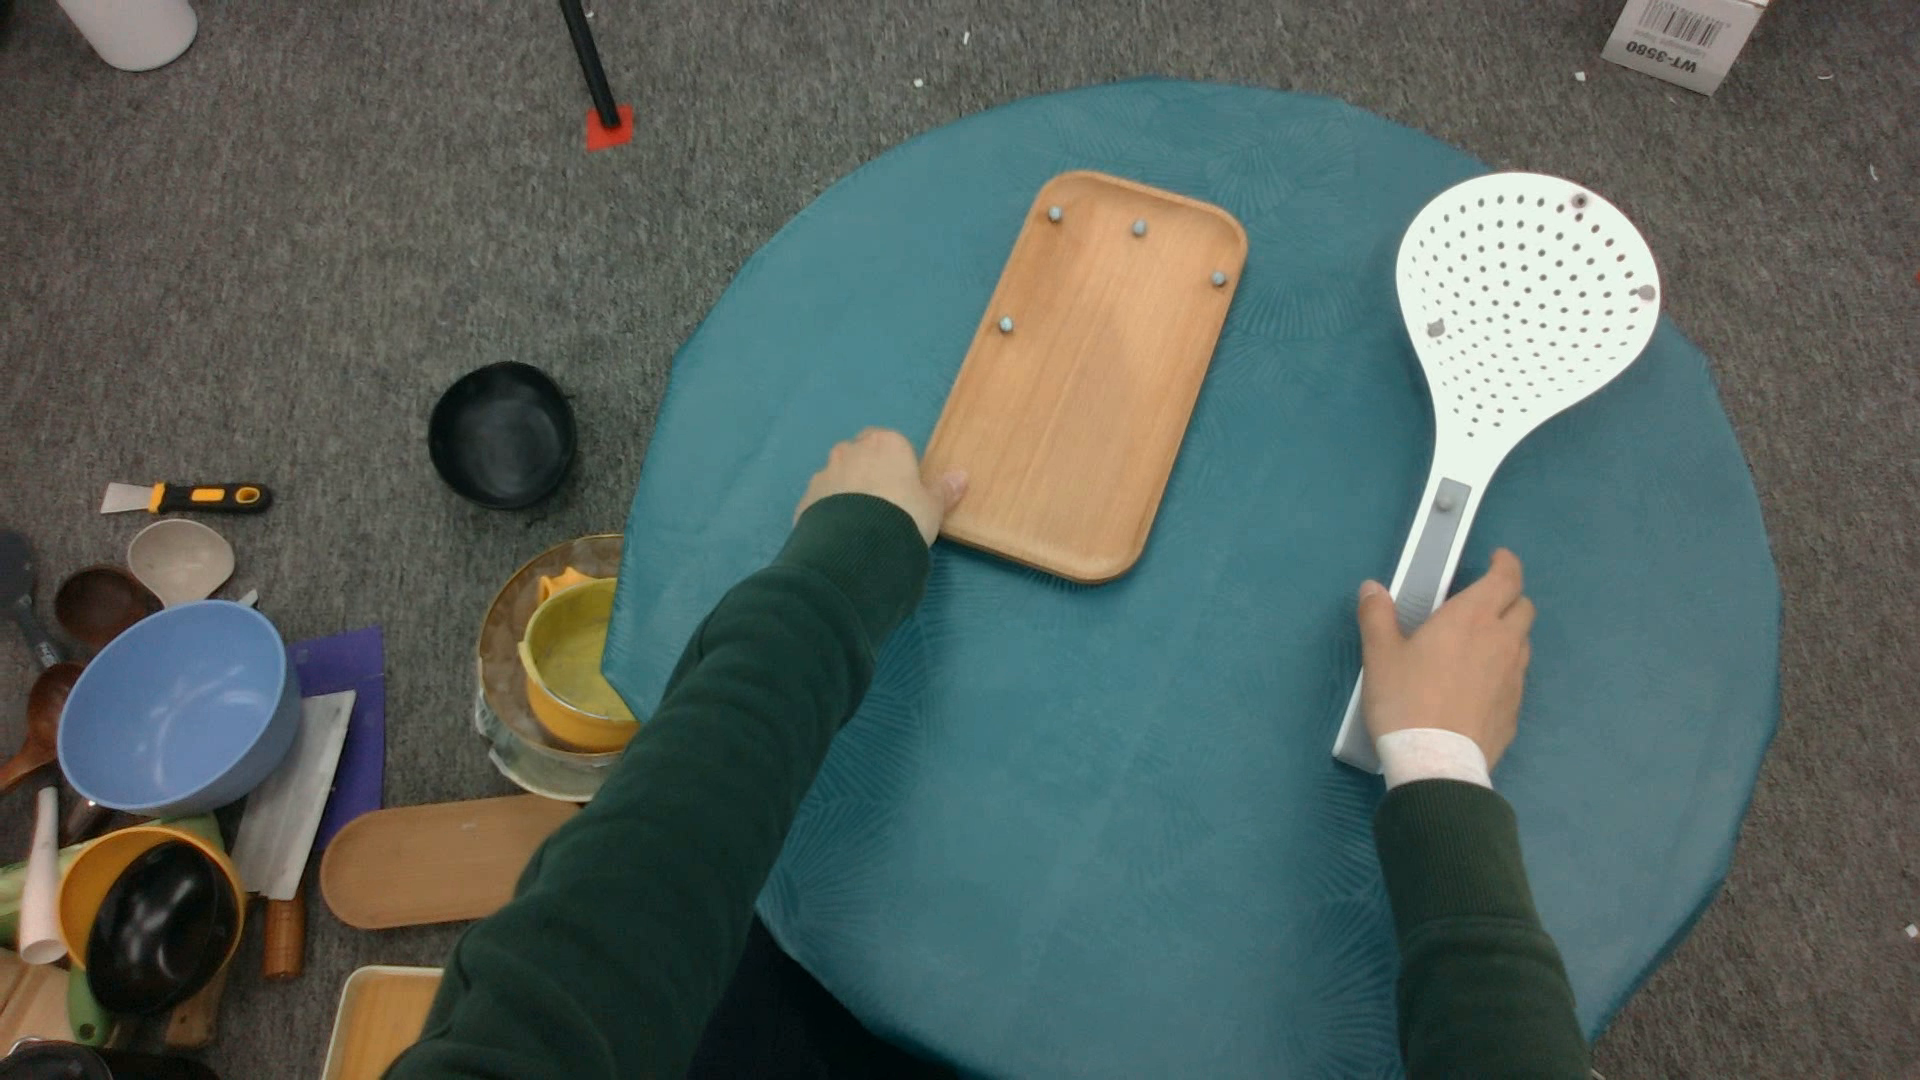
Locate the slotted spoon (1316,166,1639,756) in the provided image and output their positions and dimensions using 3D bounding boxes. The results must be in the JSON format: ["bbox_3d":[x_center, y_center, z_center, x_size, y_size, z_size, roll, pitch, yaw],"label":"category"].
[{"bbox_3d":[0.255,-0.050,0.721,0.136,0.045,0.351,21,67,12],"label":"slotted spoon"}]

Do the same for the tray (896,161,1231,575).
[{"bbox_3d":[0.061,-0.101,0.761,0.130,0.023,0.251,18,67,10],"label":"tray"}]
